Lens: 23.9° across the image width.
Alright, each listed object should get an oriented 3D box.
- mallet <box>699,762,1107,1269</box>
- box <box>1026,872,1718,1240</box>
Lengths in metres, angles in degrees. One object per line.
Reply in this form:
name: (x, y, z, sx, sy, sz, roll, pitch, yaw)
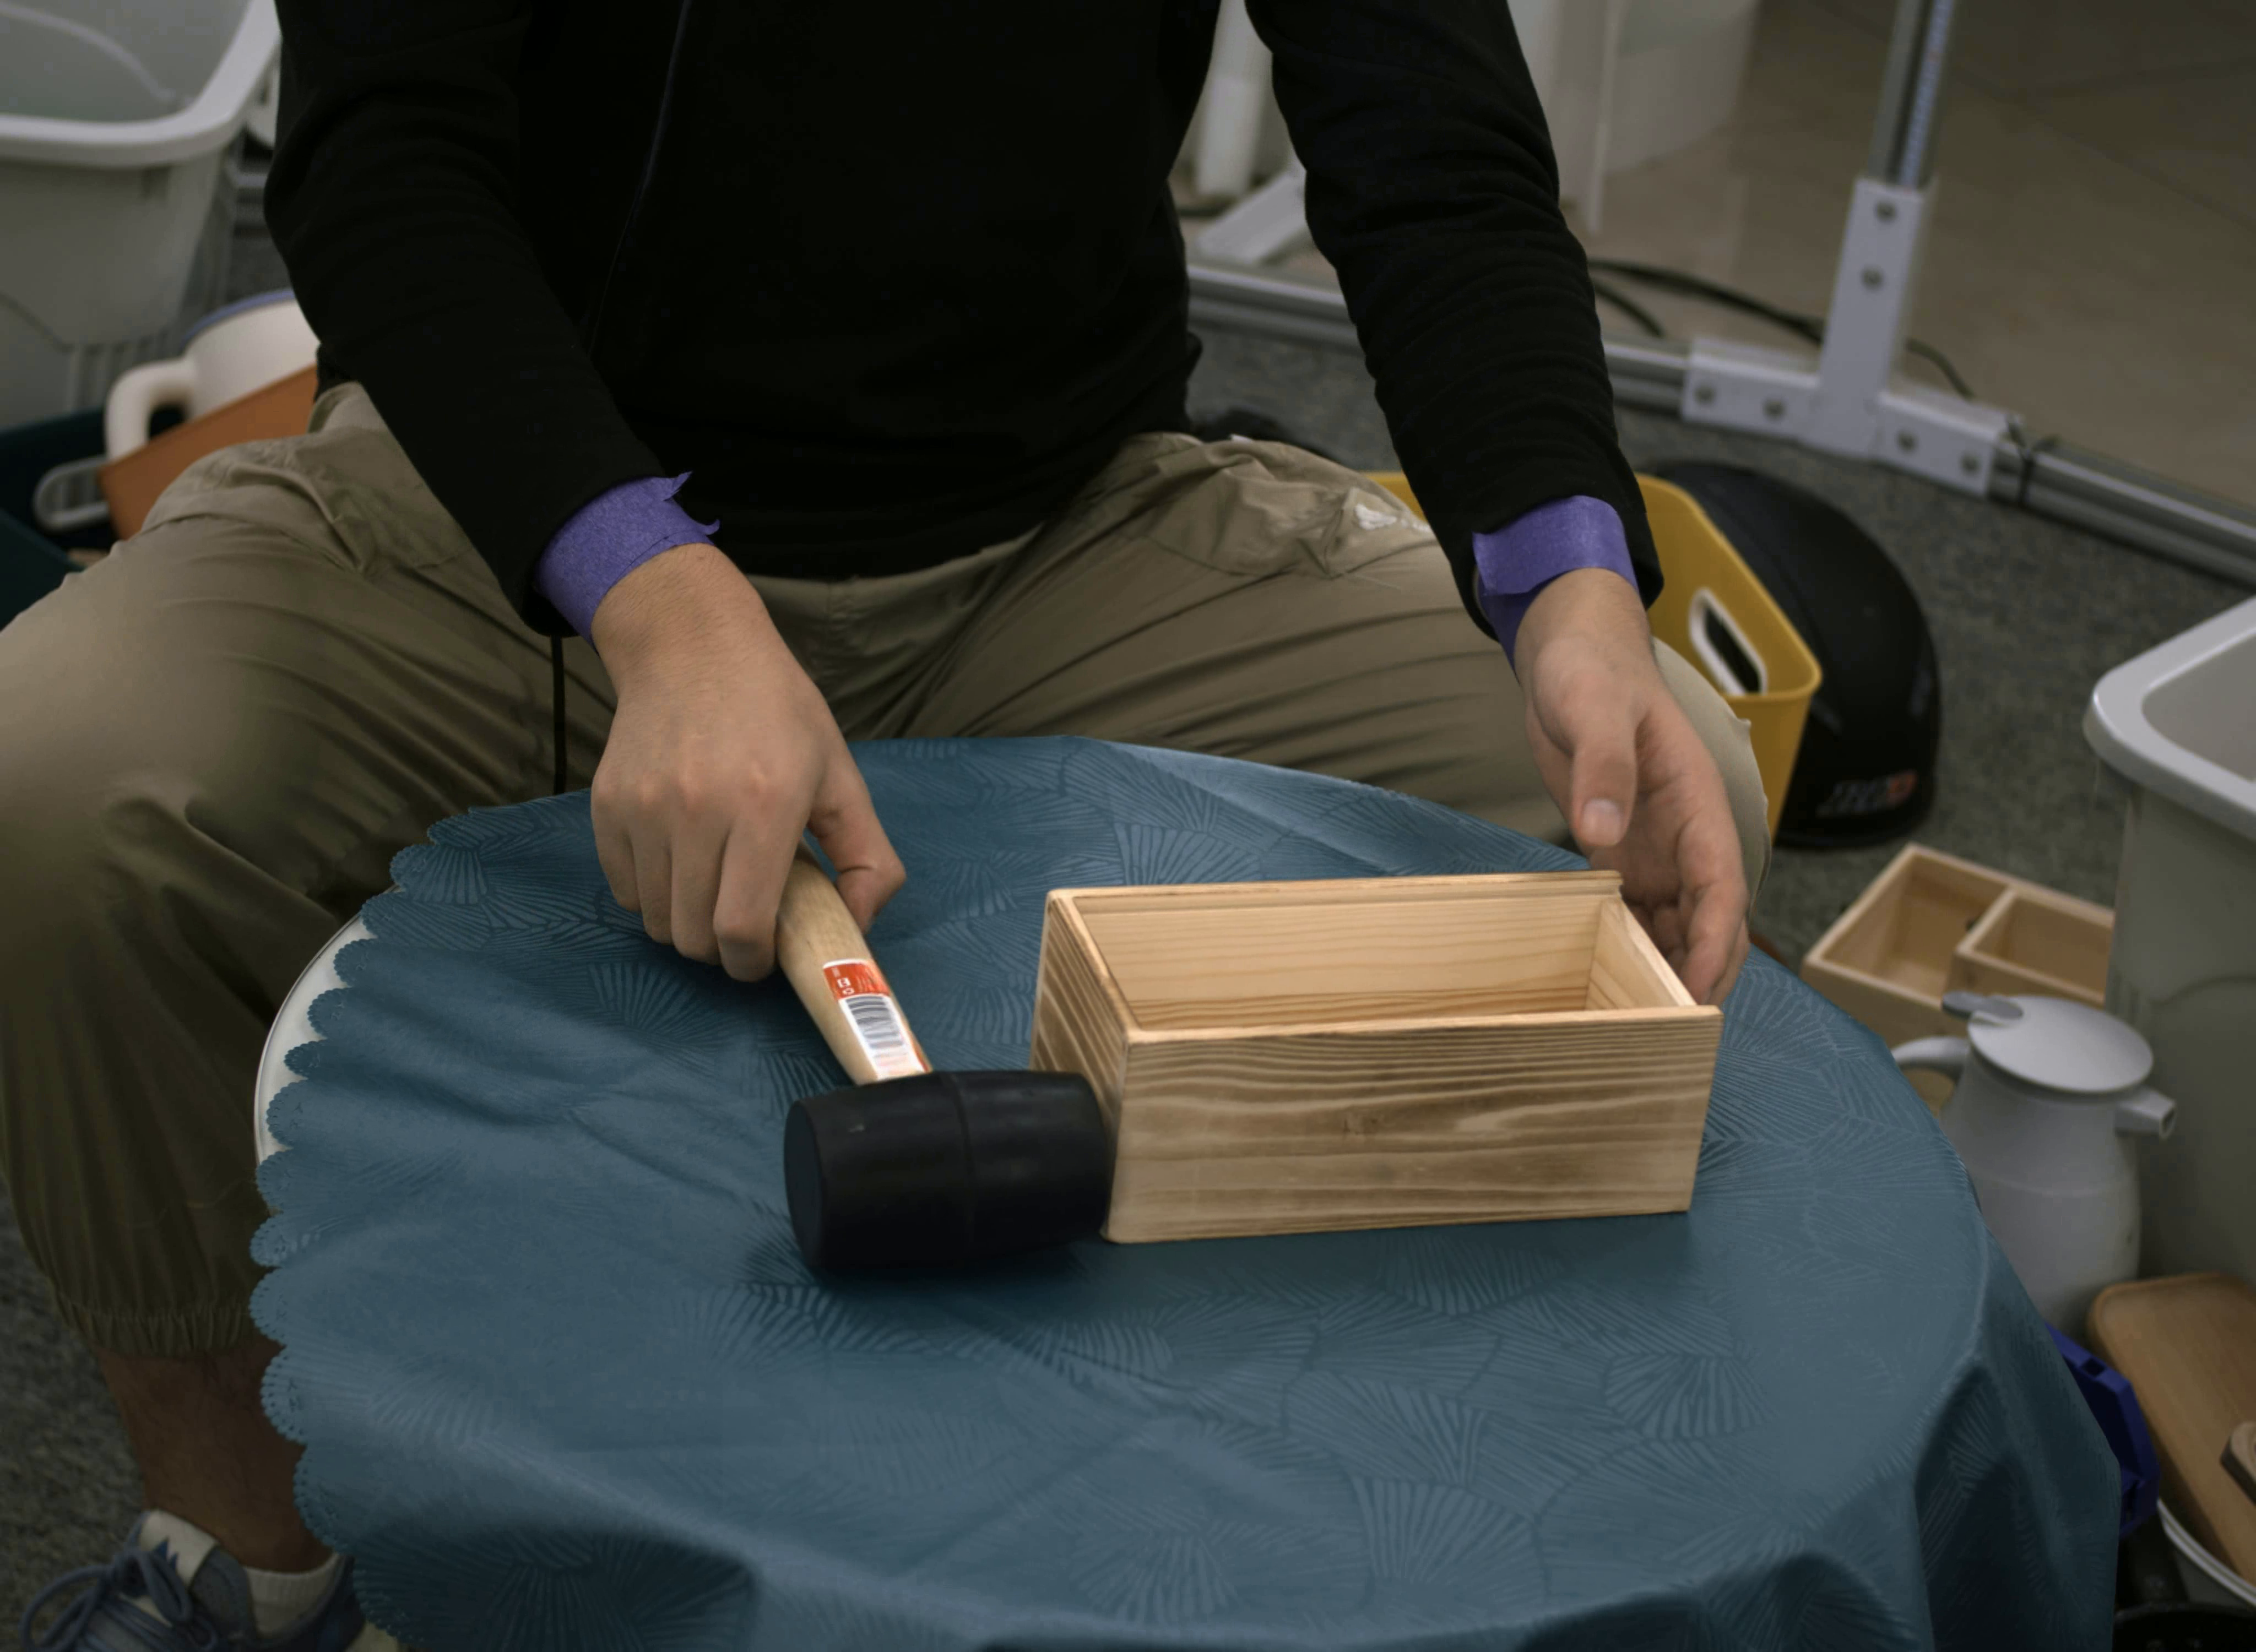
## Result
mallet: (-0.100, 0.050, 1.861, 0.101, 0.064, 0.342, -1, 27, -17)
box: (0.082, 0.077, 1.827, 0.210, 0.080, 0.108, -2, 27, -16)
